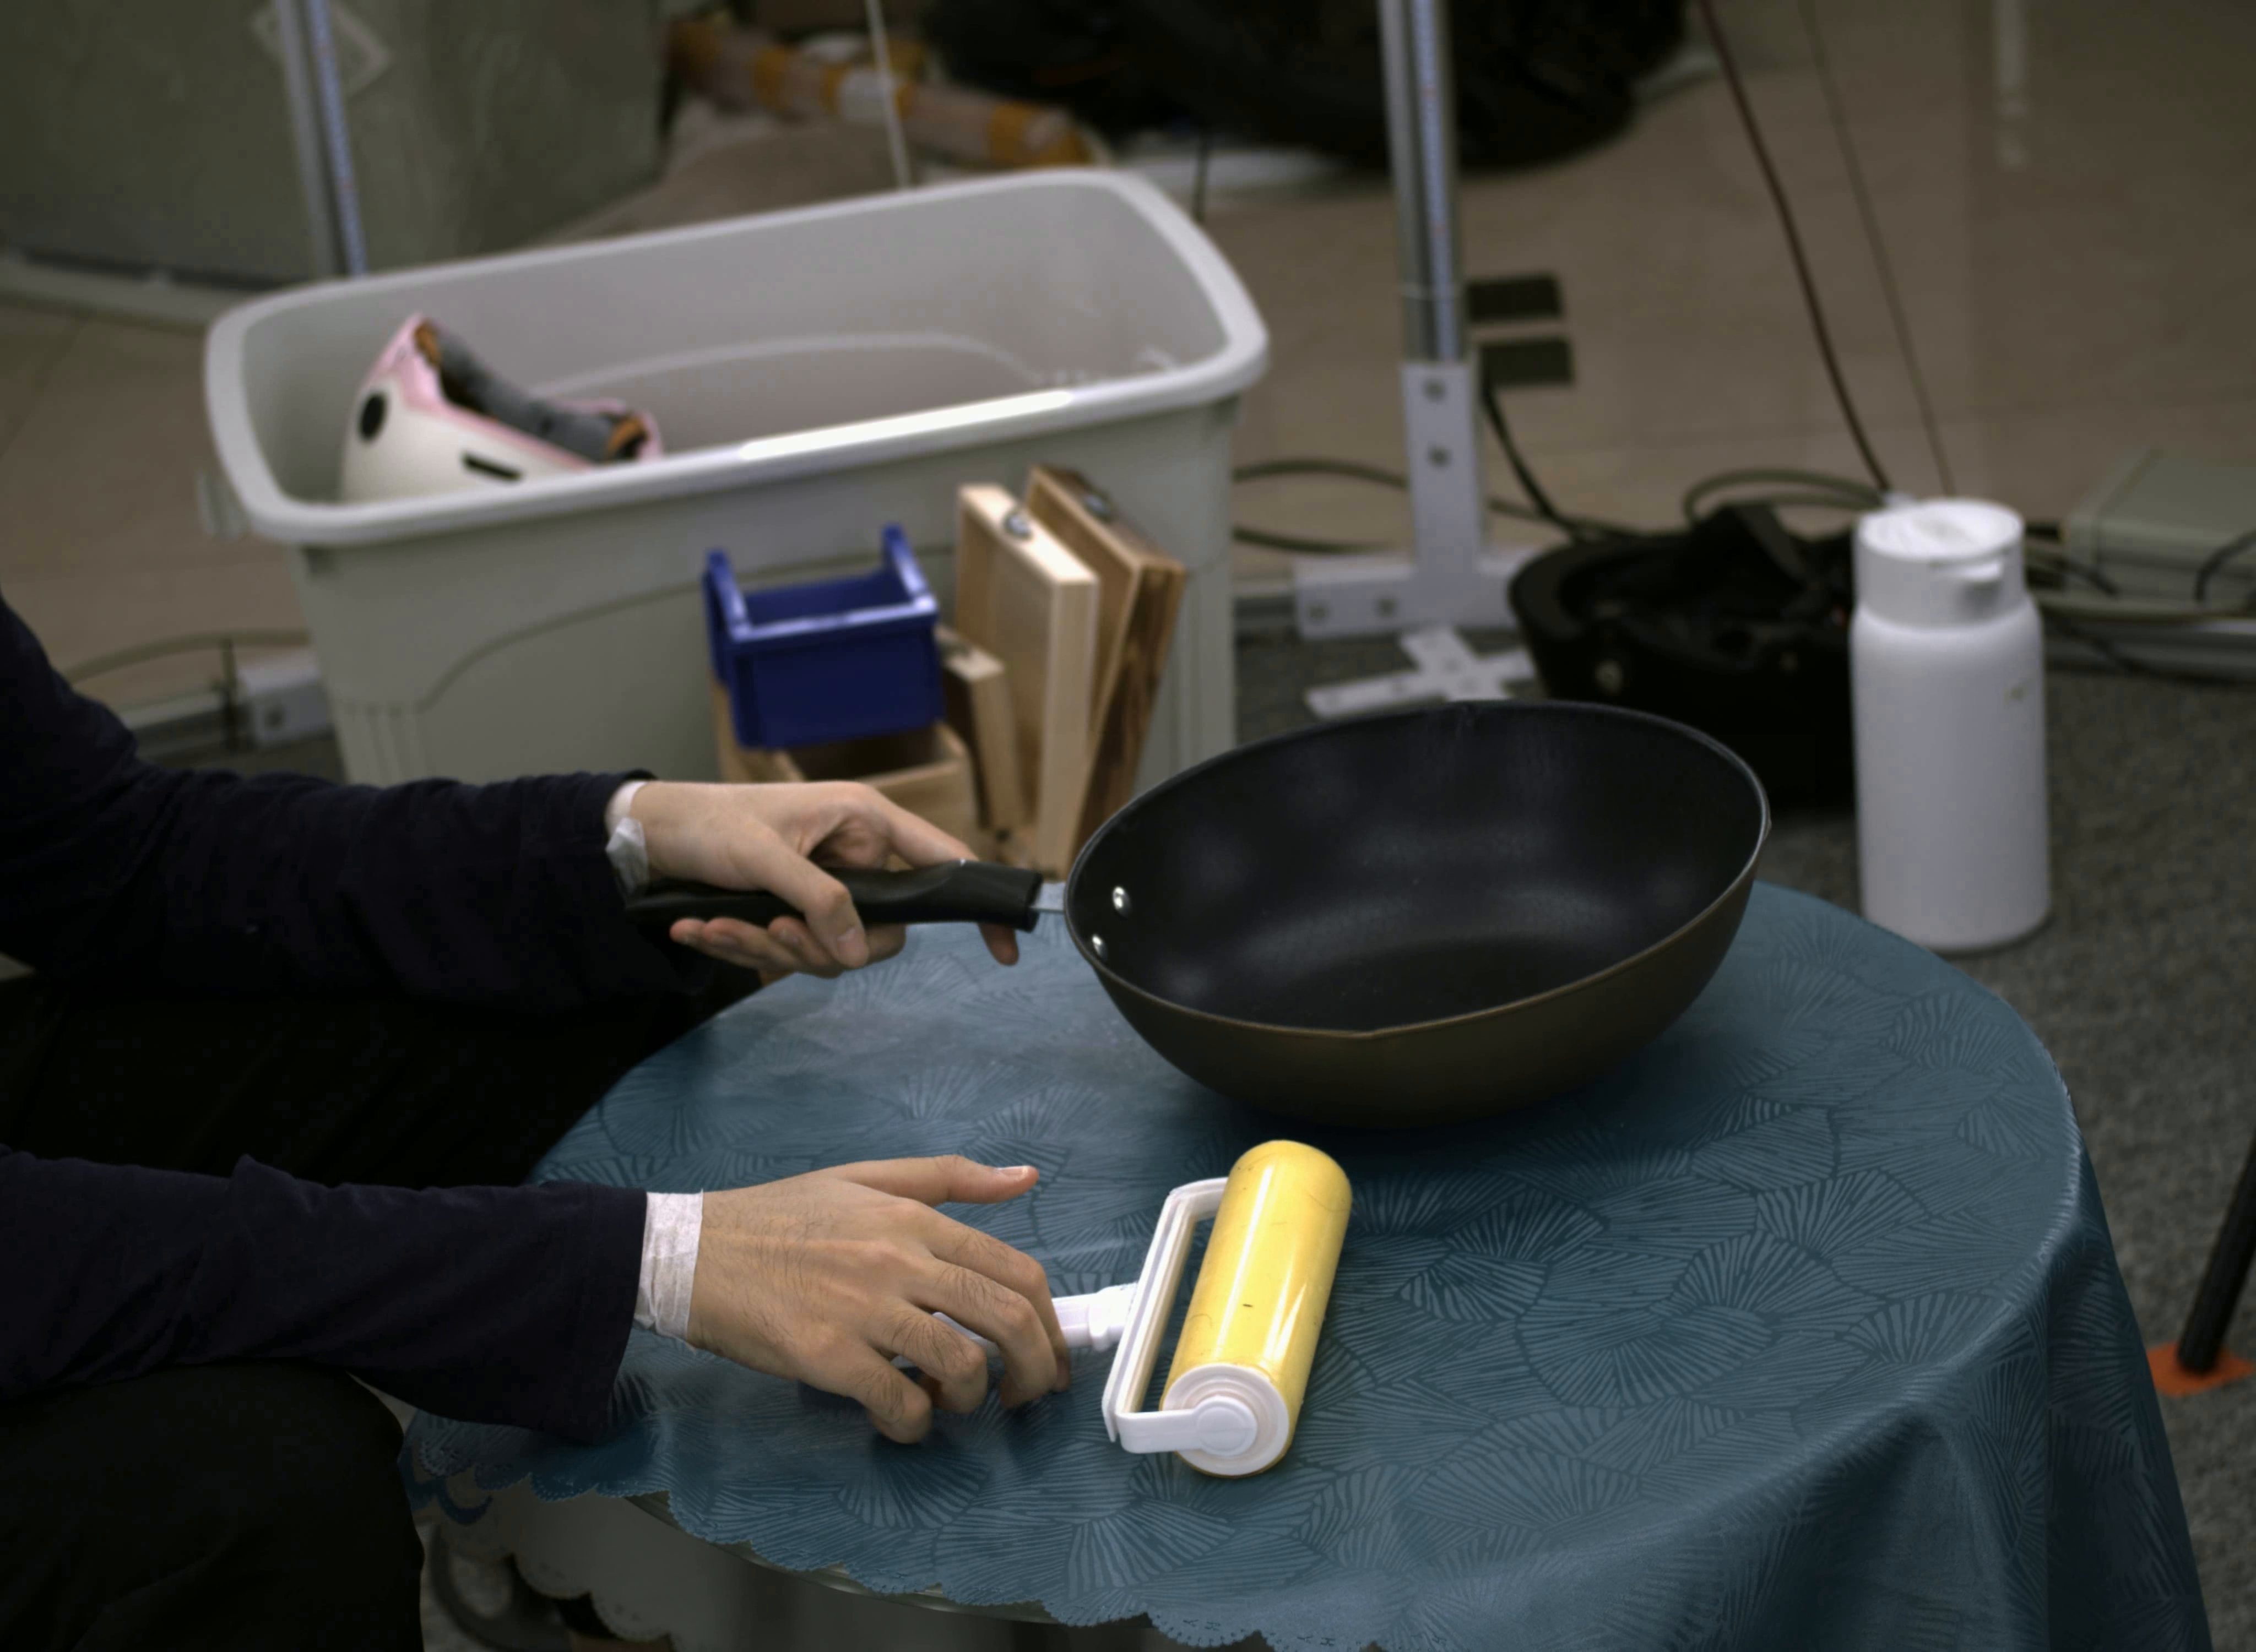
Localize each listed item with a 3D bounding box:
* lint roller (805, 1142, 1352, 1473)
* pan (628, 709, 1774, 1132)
[{"bbox_3d":[-0.024,0.173,2.027,0.191,0.052,0.172,-1,25,11],"label":"lint roller"},{"bbox_3d":[0.028,0.051,2.239,0.462,0.088,0.284,-3,25,13],"label":"pan"}]
